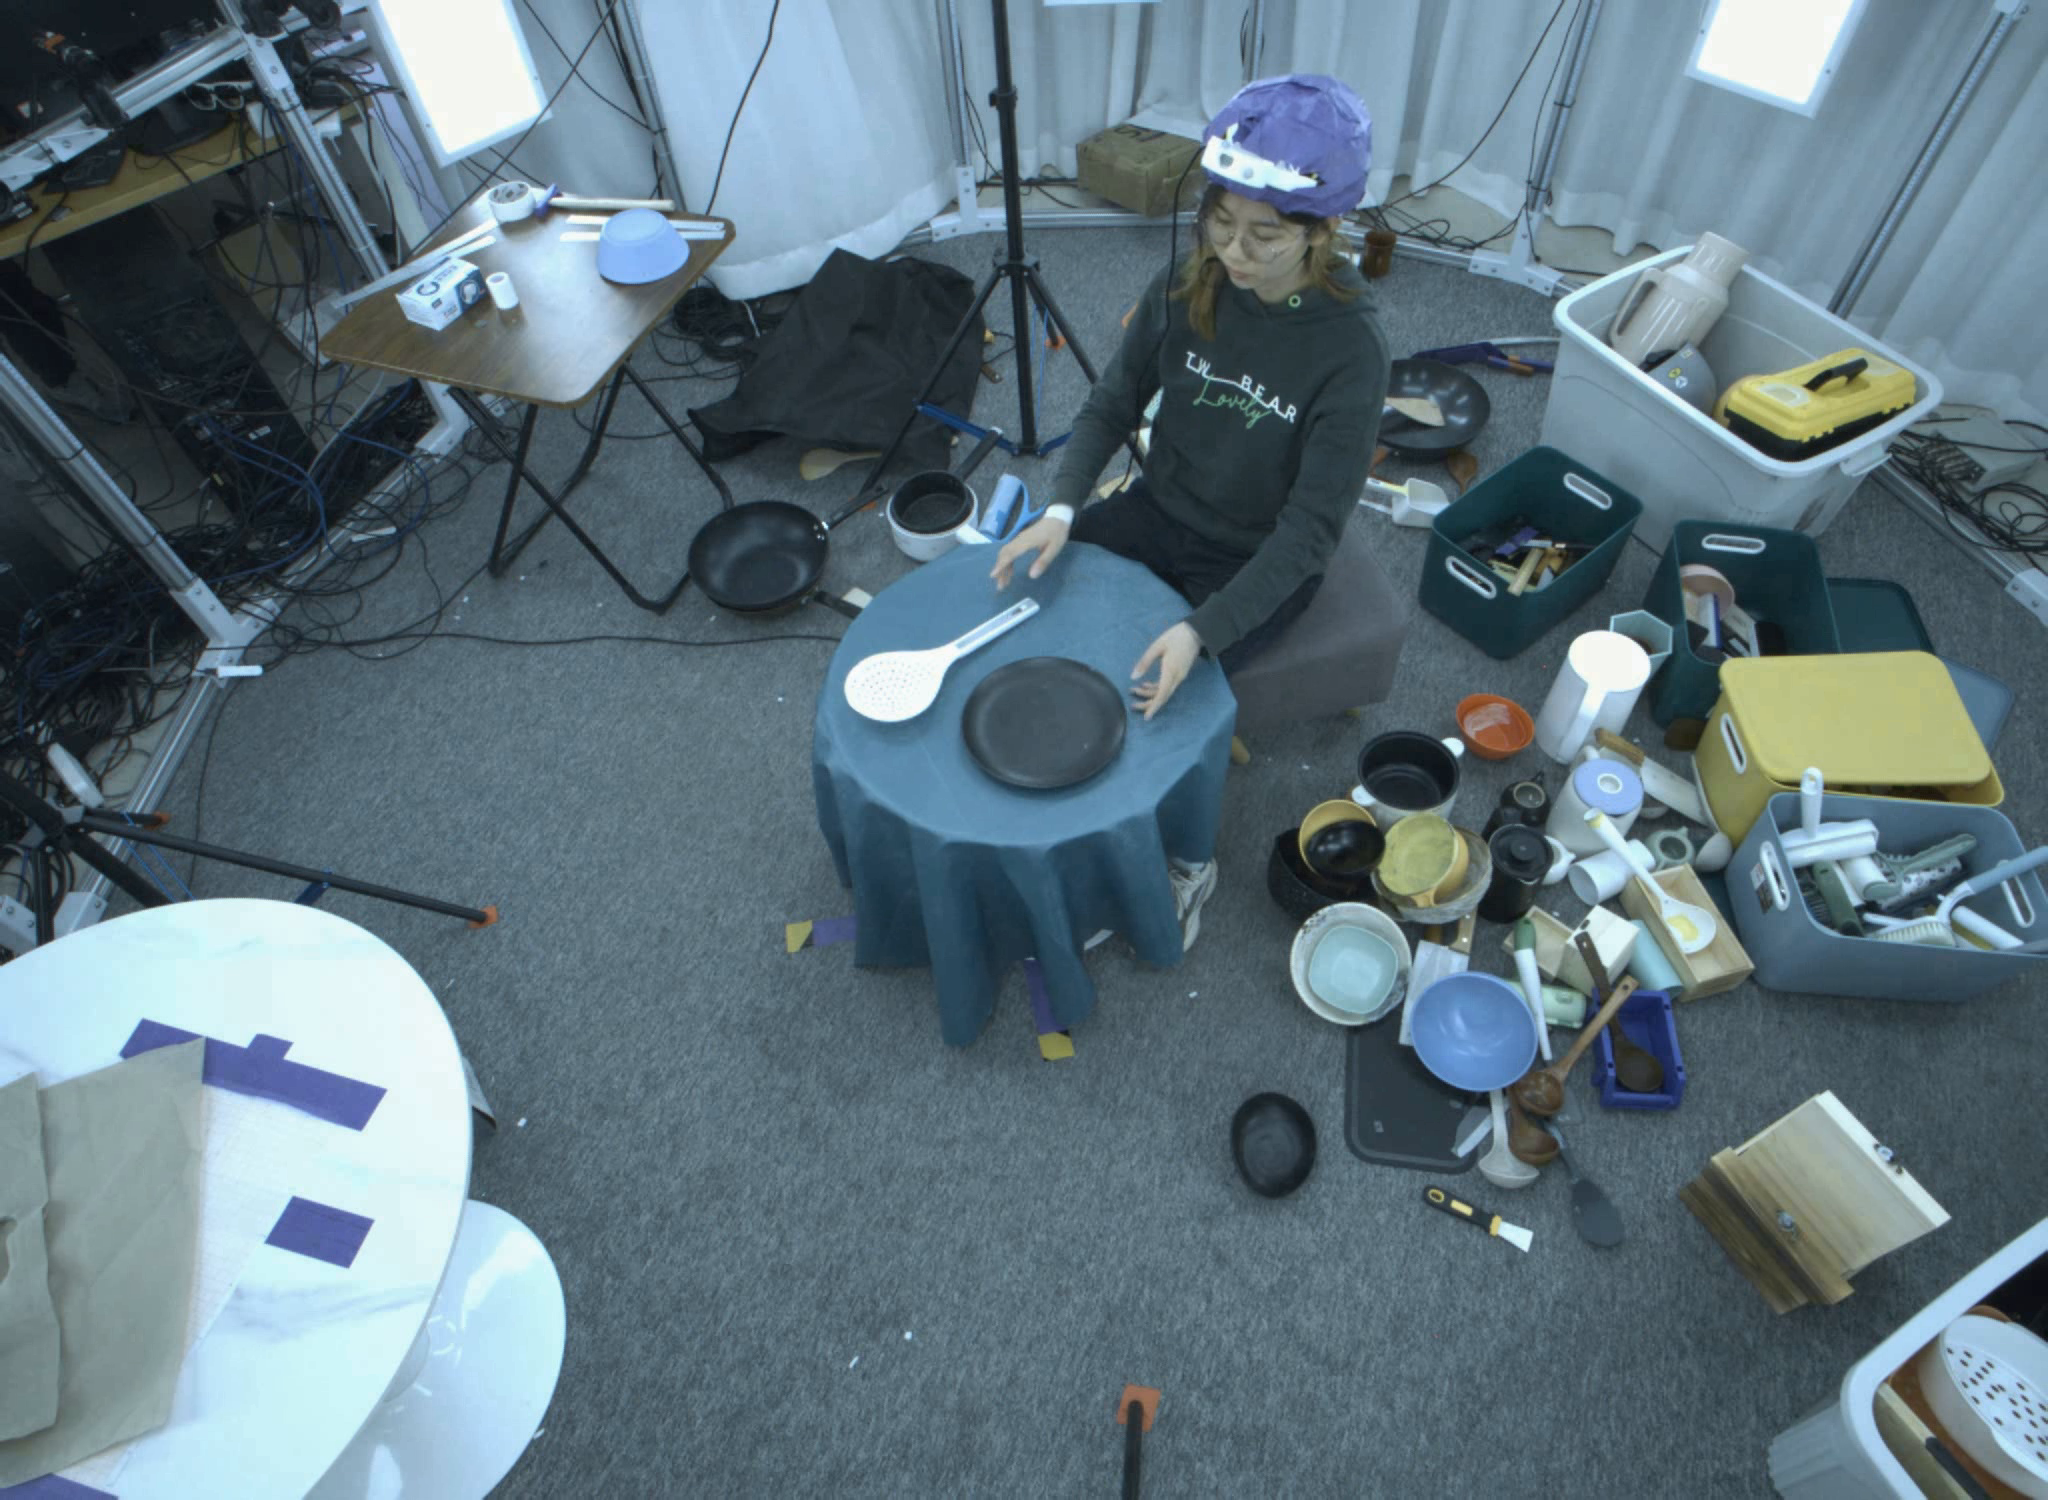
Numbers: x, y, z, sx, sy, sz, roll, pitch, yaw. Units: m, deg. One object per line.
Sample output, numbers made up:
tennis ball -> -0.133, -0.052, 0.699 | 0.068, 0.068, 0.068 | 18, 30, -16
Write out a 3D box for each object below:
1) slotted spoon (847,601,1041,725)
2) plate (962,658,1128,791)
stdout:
slotted spoon -> -0.114, -0.141, 1.872 | 0.352, 0.046, 0.133 | -36, 63, -22
plate -> 0.031, -0.035, 1.807 | 0.244, 0.024, 0.242 | 0, 55, 2
